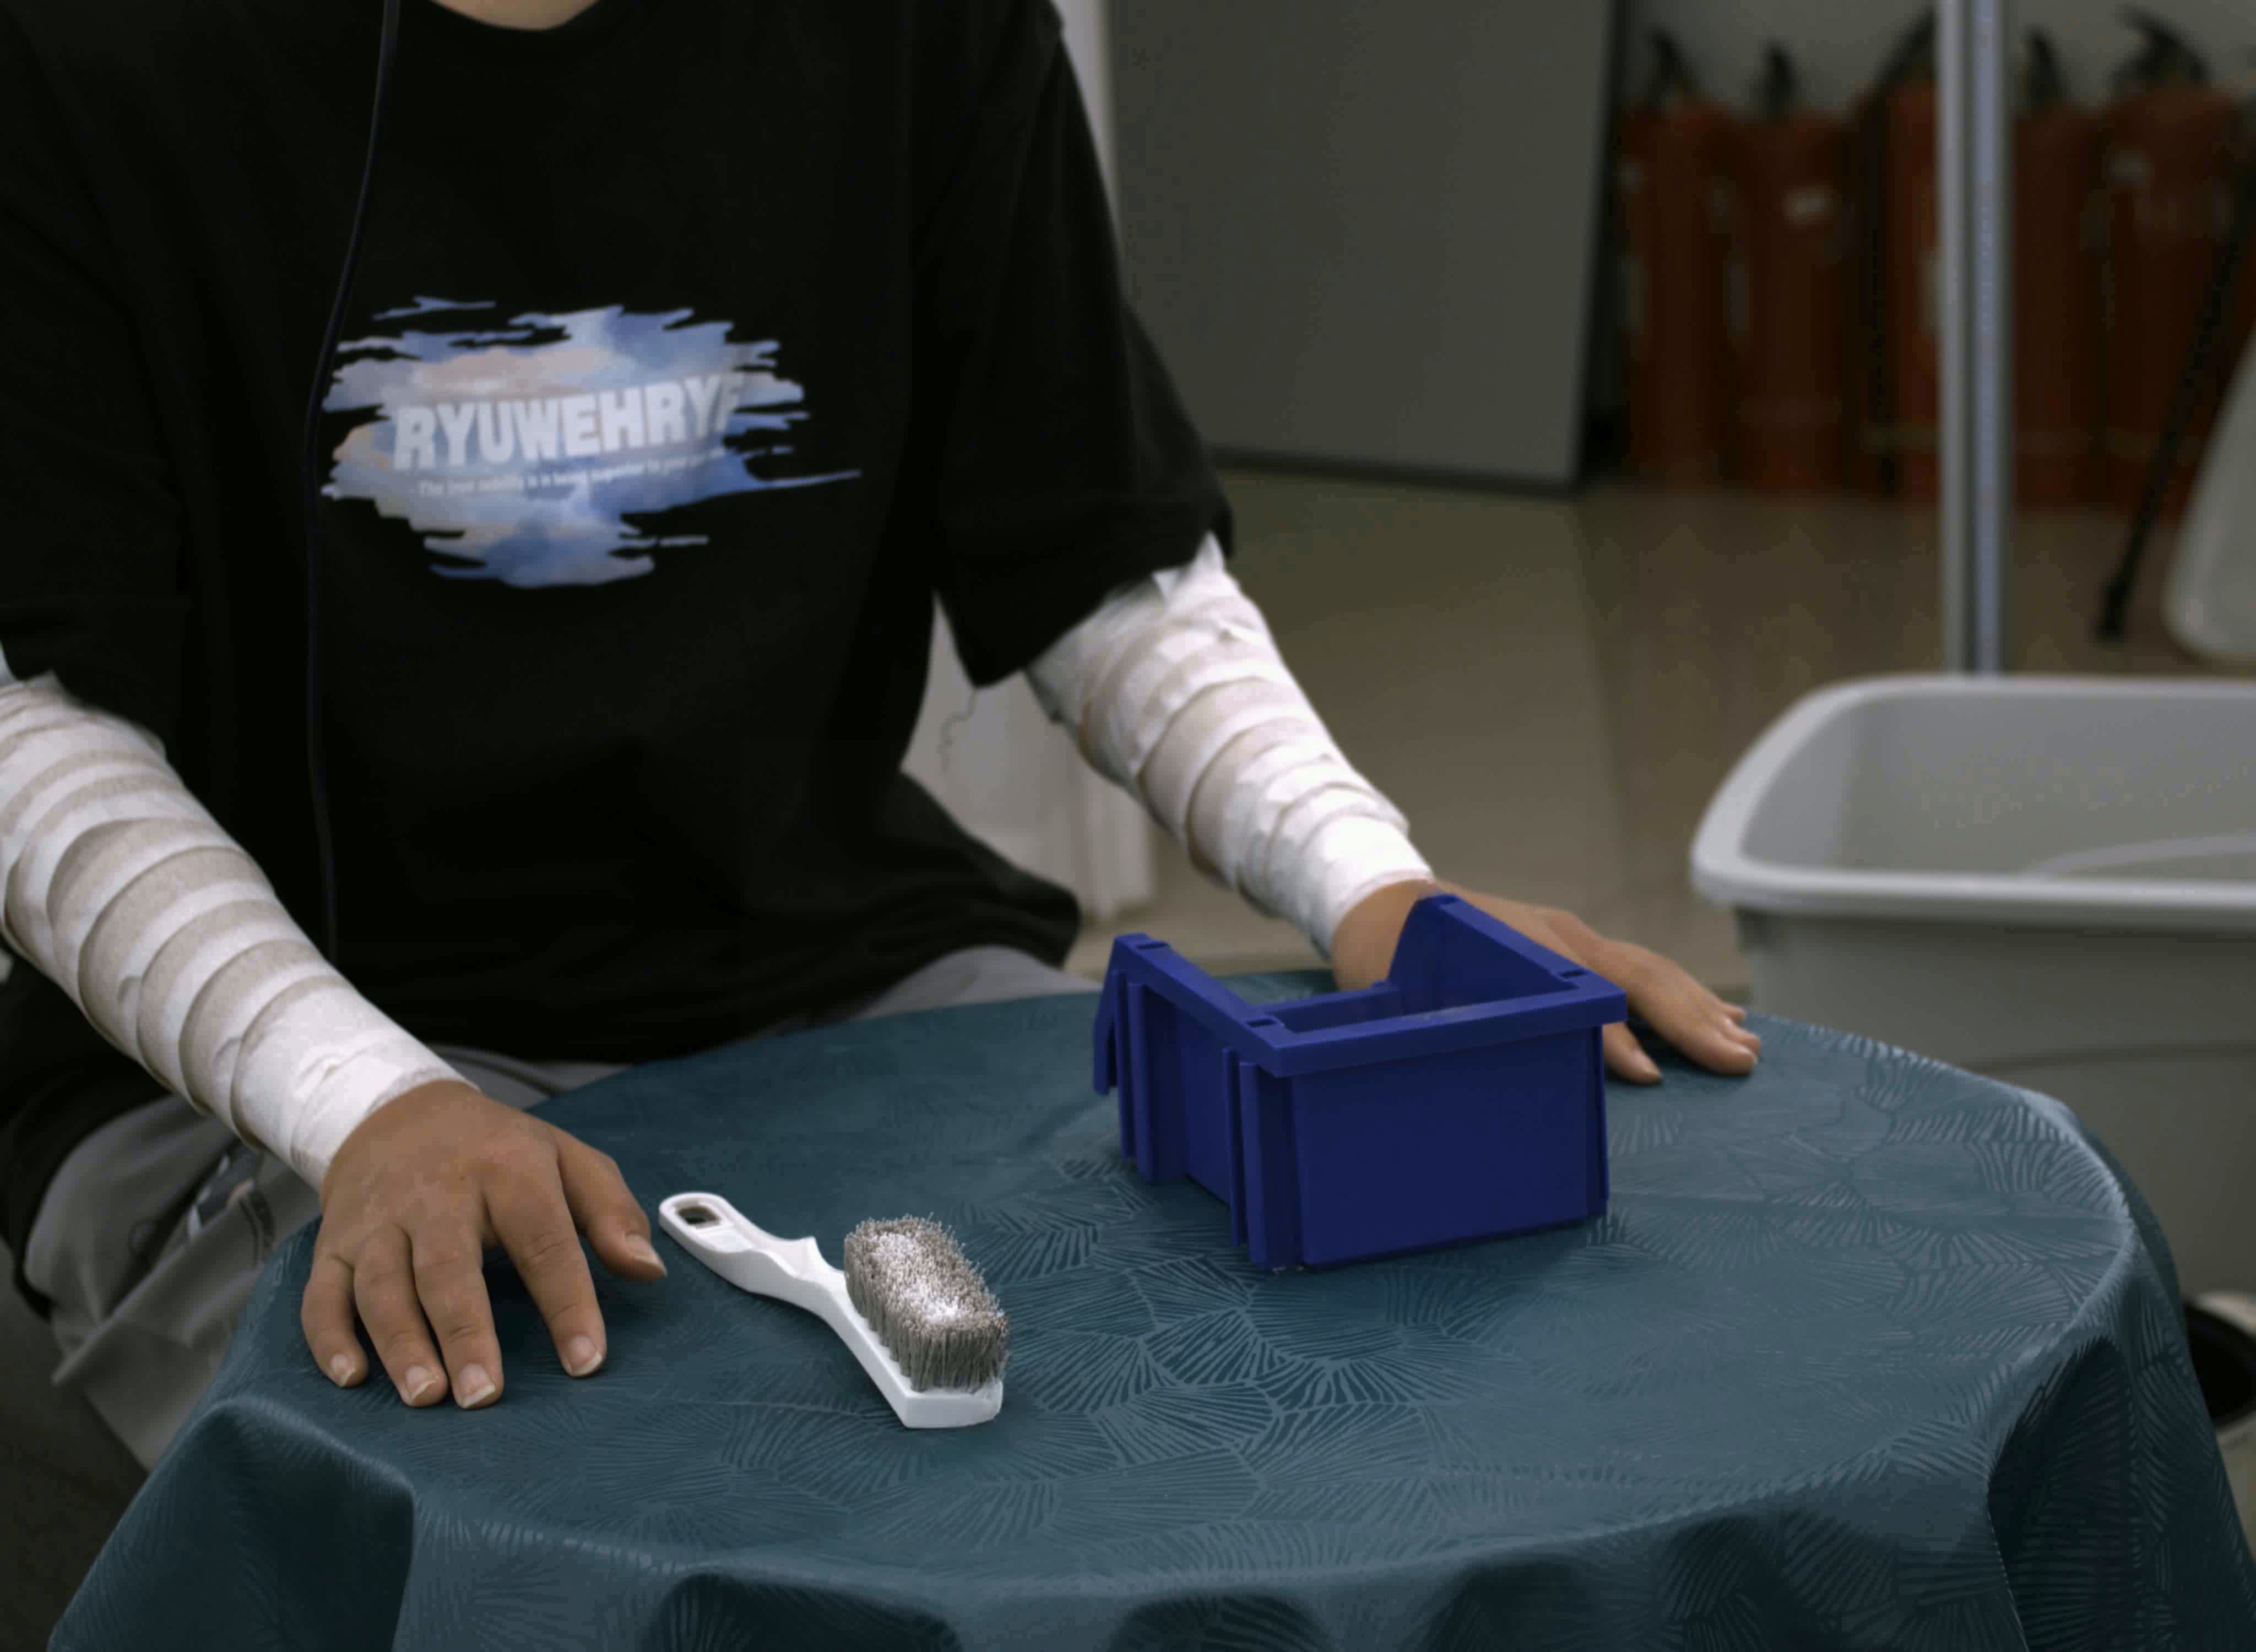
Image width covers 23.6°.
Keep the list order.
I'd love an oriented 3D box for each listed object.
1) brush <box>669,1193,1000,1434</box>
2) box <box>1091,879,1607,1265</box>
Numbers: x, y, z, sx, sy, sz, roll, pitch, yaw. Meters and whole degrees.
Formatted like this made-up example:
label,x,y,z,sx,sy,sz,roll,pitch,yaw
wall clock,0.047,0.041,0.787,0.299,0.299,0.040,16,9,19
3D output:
label,x,y,z,sx,sy,sz,roll,pitch,yaw
brush,-0.096,0.129,1.661,0.033,0.051,0.246,-9,15,-21
box,0.067,0.077,1.763,0.122,0.083,0.181,-8,15,-16
